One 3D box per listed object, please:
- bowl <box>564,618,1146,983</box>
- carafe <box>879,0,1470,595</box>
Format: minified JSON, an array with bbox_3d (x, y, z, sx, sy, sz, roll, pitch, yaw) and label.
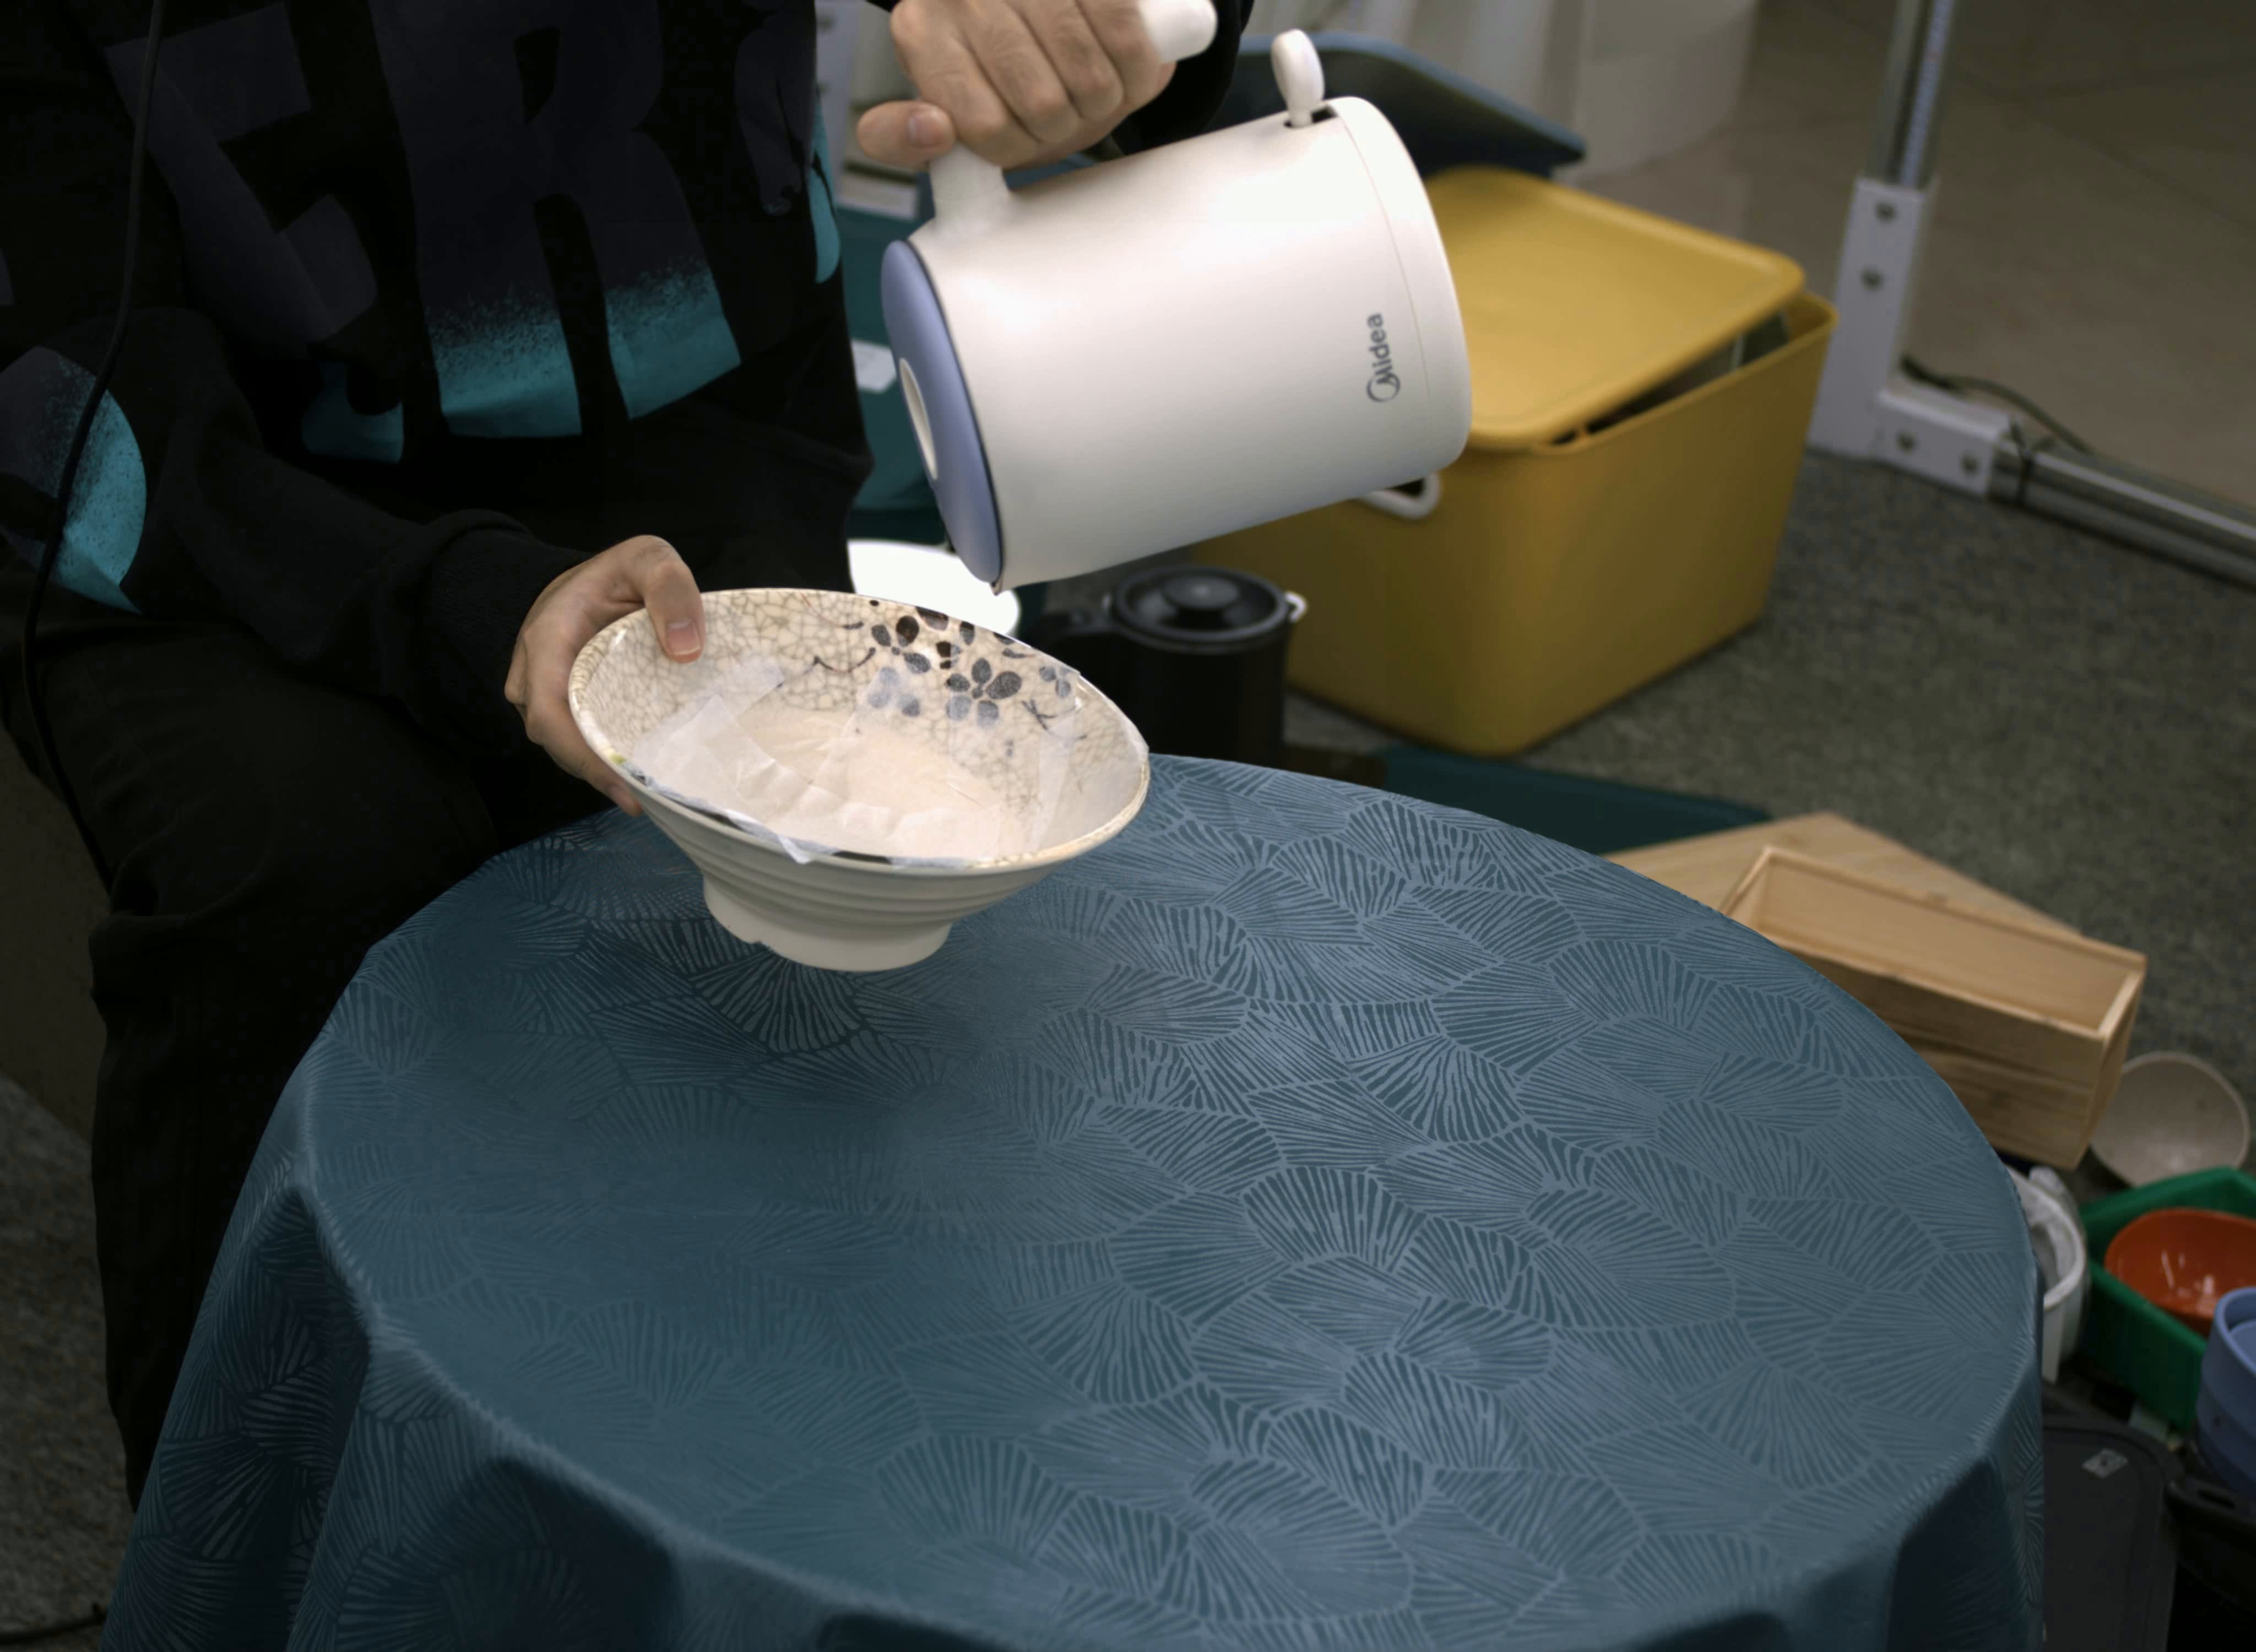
[{"bbox_3d":[-0.099,0.001,1.848,0.203,0.078,0.205,8,22,-4],"label":"bowl"},{"bbox_3d":[0.011,-0.184,1.776,0.182,0.190,0.133,-14,22,-9],"label":"carafe"}]
